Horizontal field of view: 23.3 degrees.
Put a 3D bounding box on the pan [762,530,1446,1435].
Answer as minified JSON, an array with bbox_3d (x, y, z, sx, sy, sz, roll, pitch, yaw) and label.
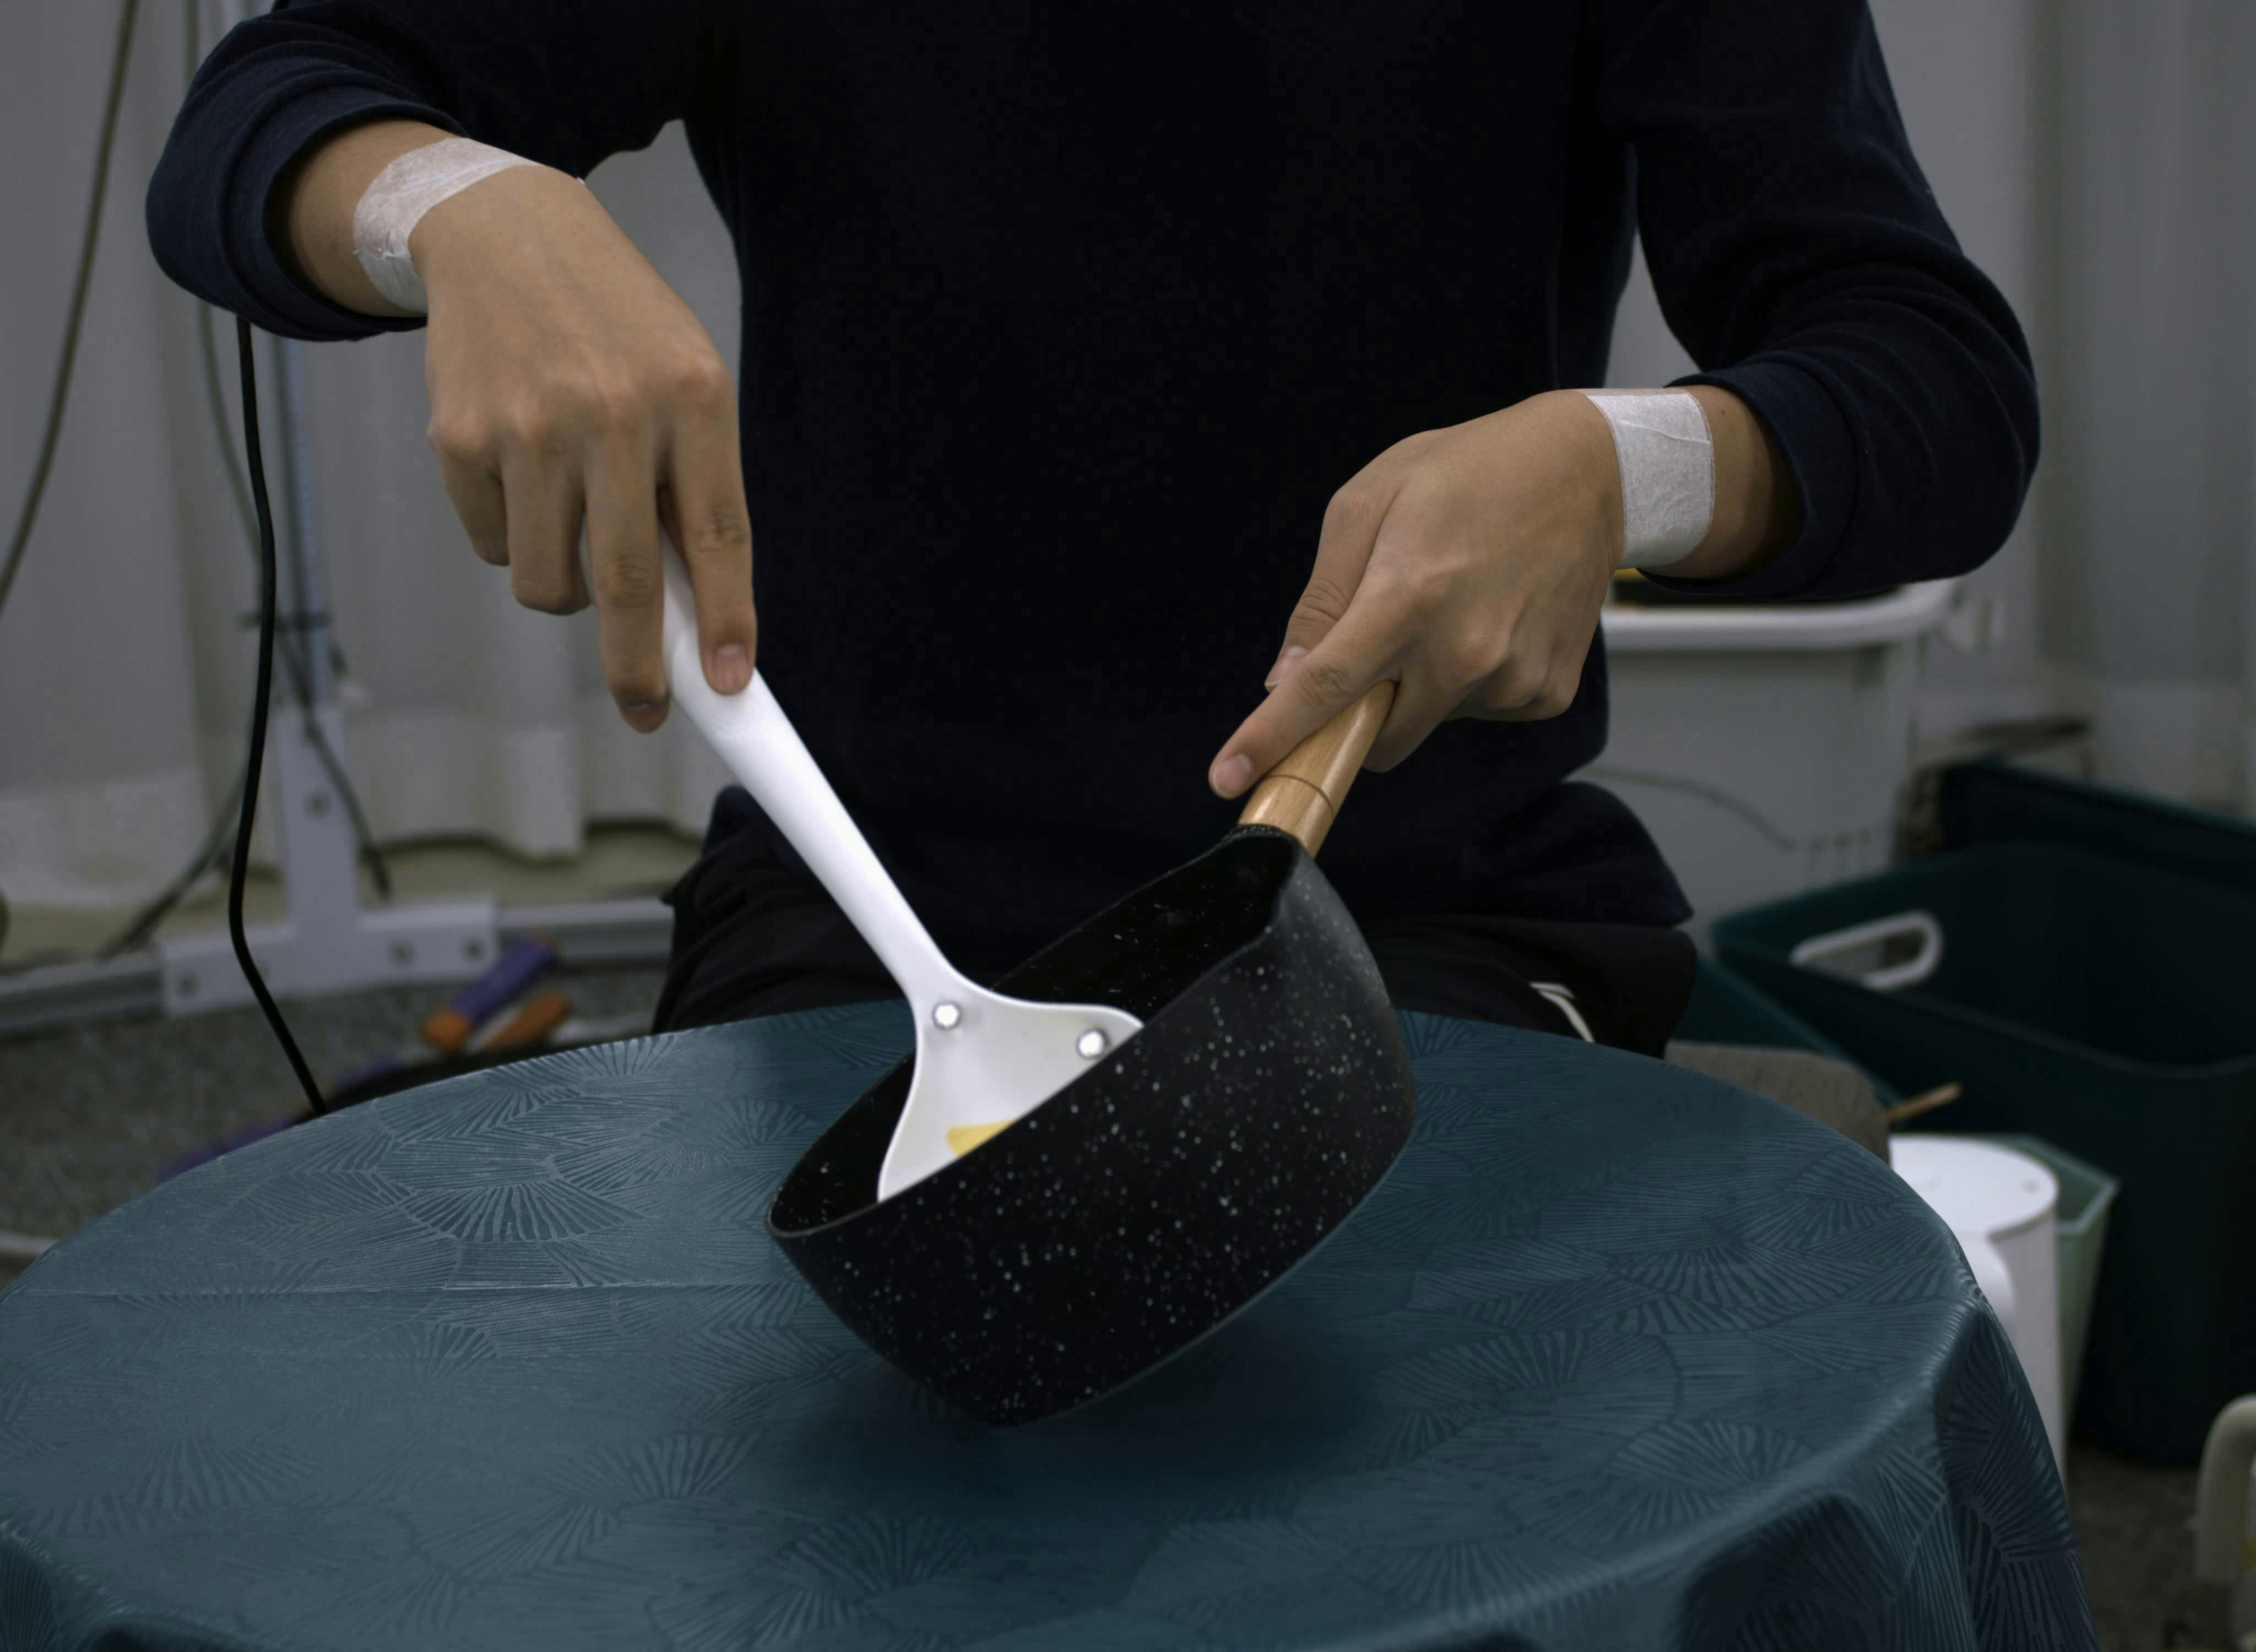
[{"bbox_3d":[0.029,0.040,1.581,0.206,0.108,0.345,-28,13,43],"label":"pan"}]

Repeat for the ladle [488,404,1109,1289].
[{"bbox_3d":[-0.098,-0.001,1.517,0.090,0.296,0.069,-39,-19,12],"label":"ladle"}]
